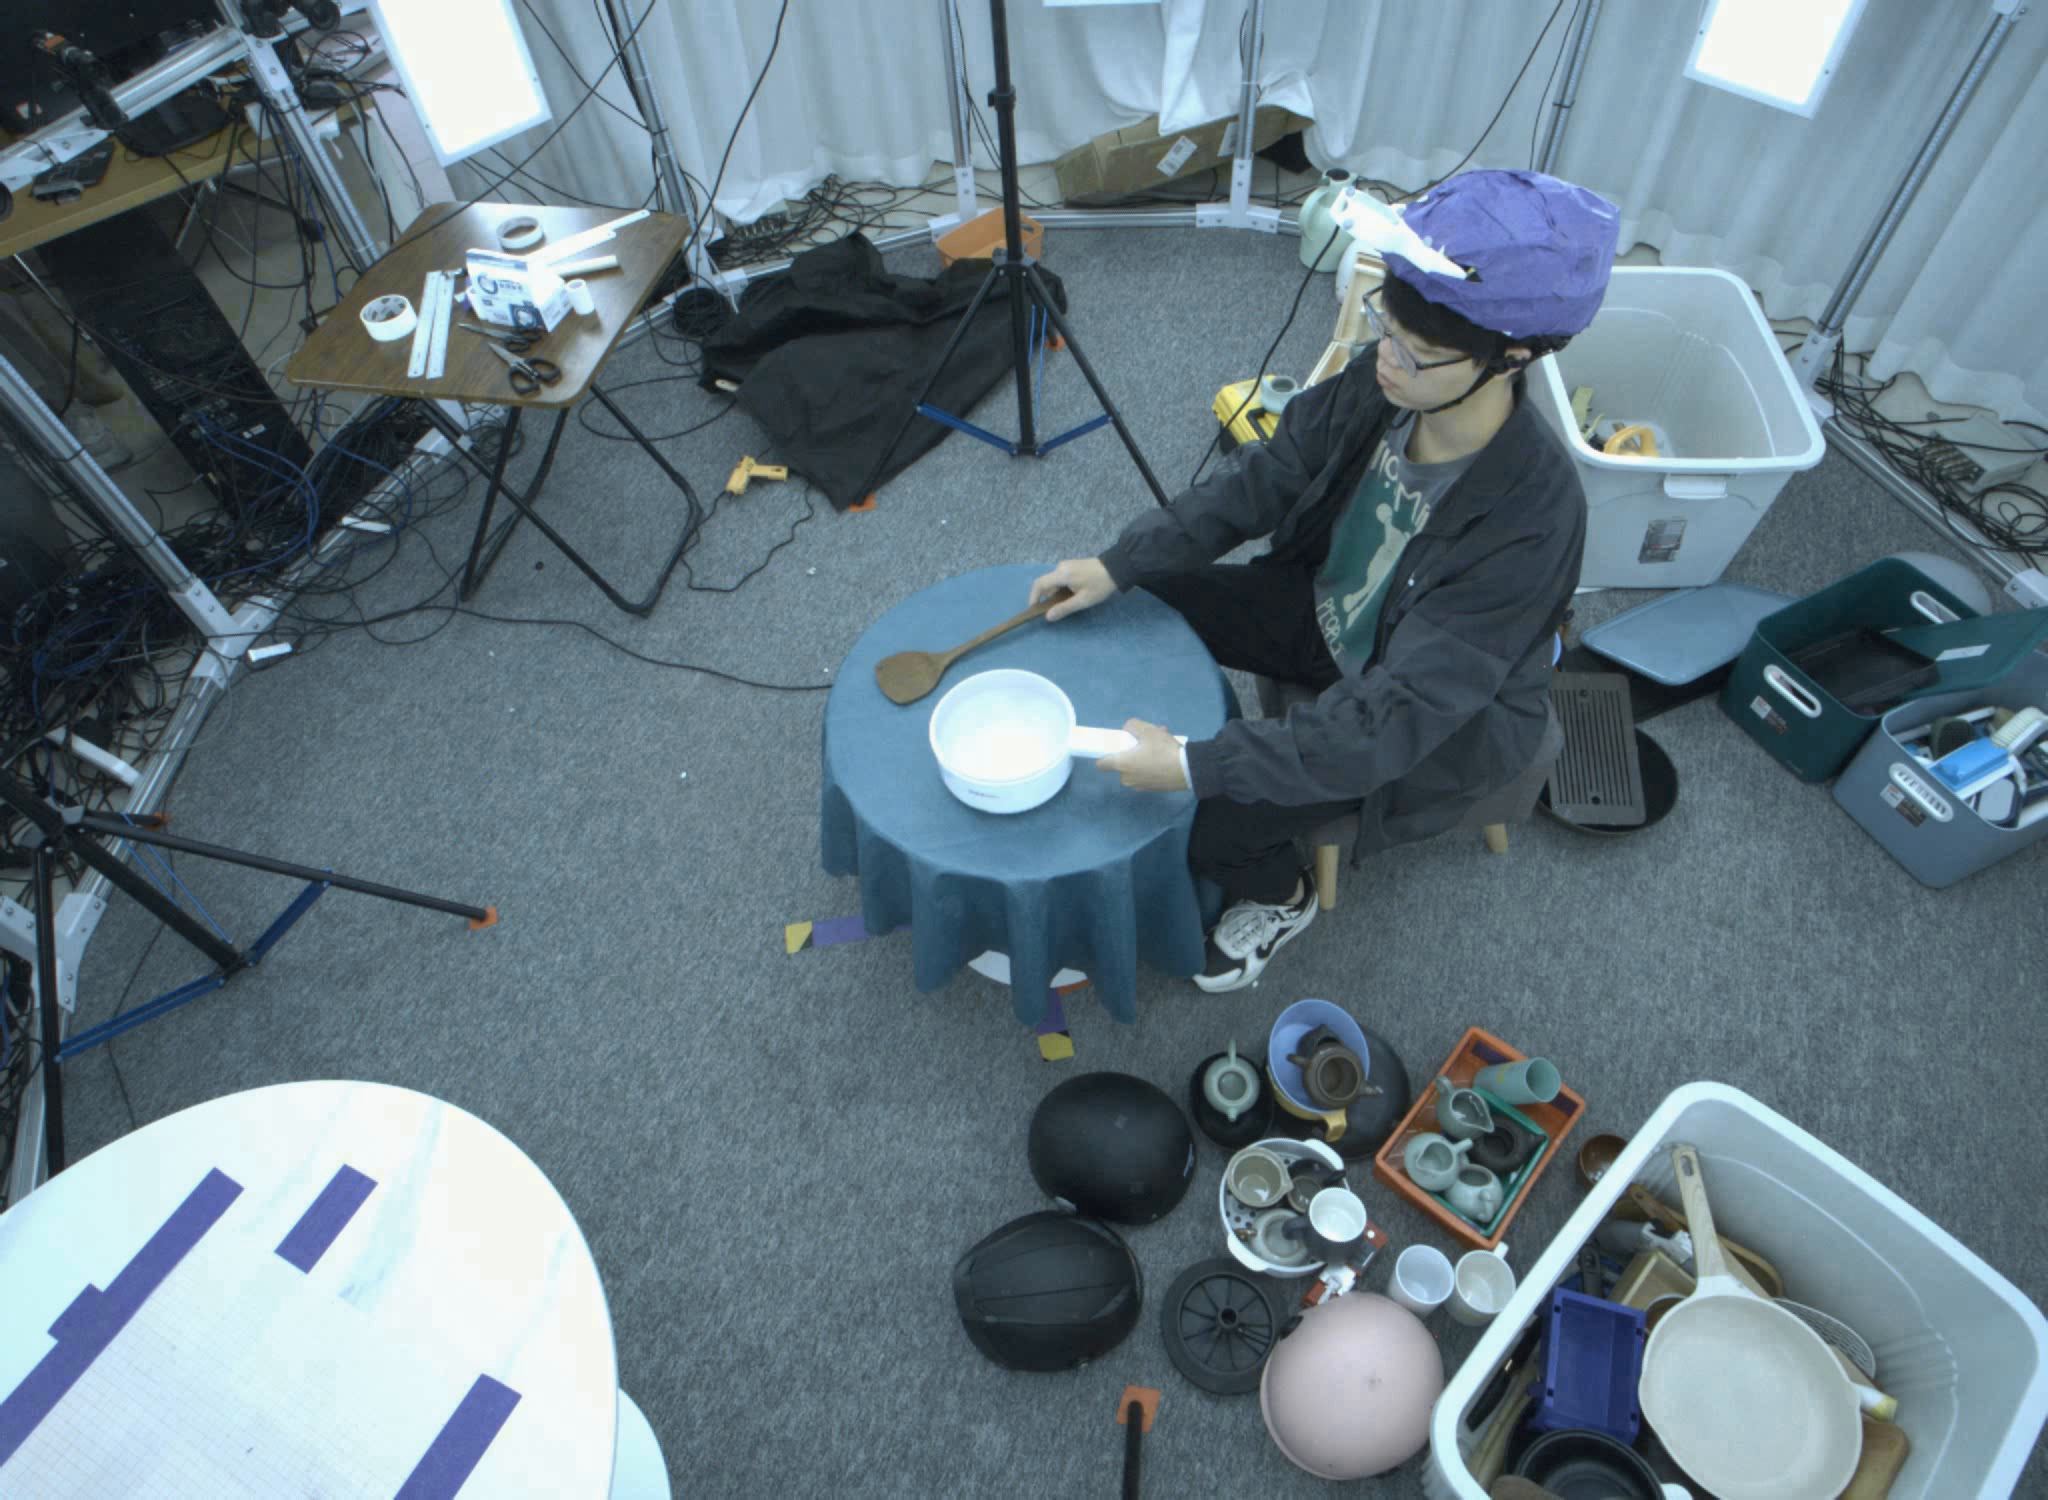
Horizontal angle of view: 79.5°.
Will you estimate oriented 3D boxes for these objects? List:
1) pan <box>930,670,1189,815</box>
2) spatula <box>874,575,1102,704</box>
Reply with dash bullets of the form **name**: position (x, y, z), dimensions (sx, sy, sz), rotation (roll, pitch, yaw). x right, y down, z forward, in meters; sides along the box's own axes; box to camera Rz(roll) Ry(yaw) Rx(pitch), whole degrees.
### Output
- **pan**: position (0.049, 0.004, 1.712), dimensions (0.353, 0.103, 0.200), rotation (8, 54, 7)
- **spatula**: position (-0.048, -0.182, 1.887), dimensions (0.388, 0.016, 0.094), rotation (-28, 63, -12)
